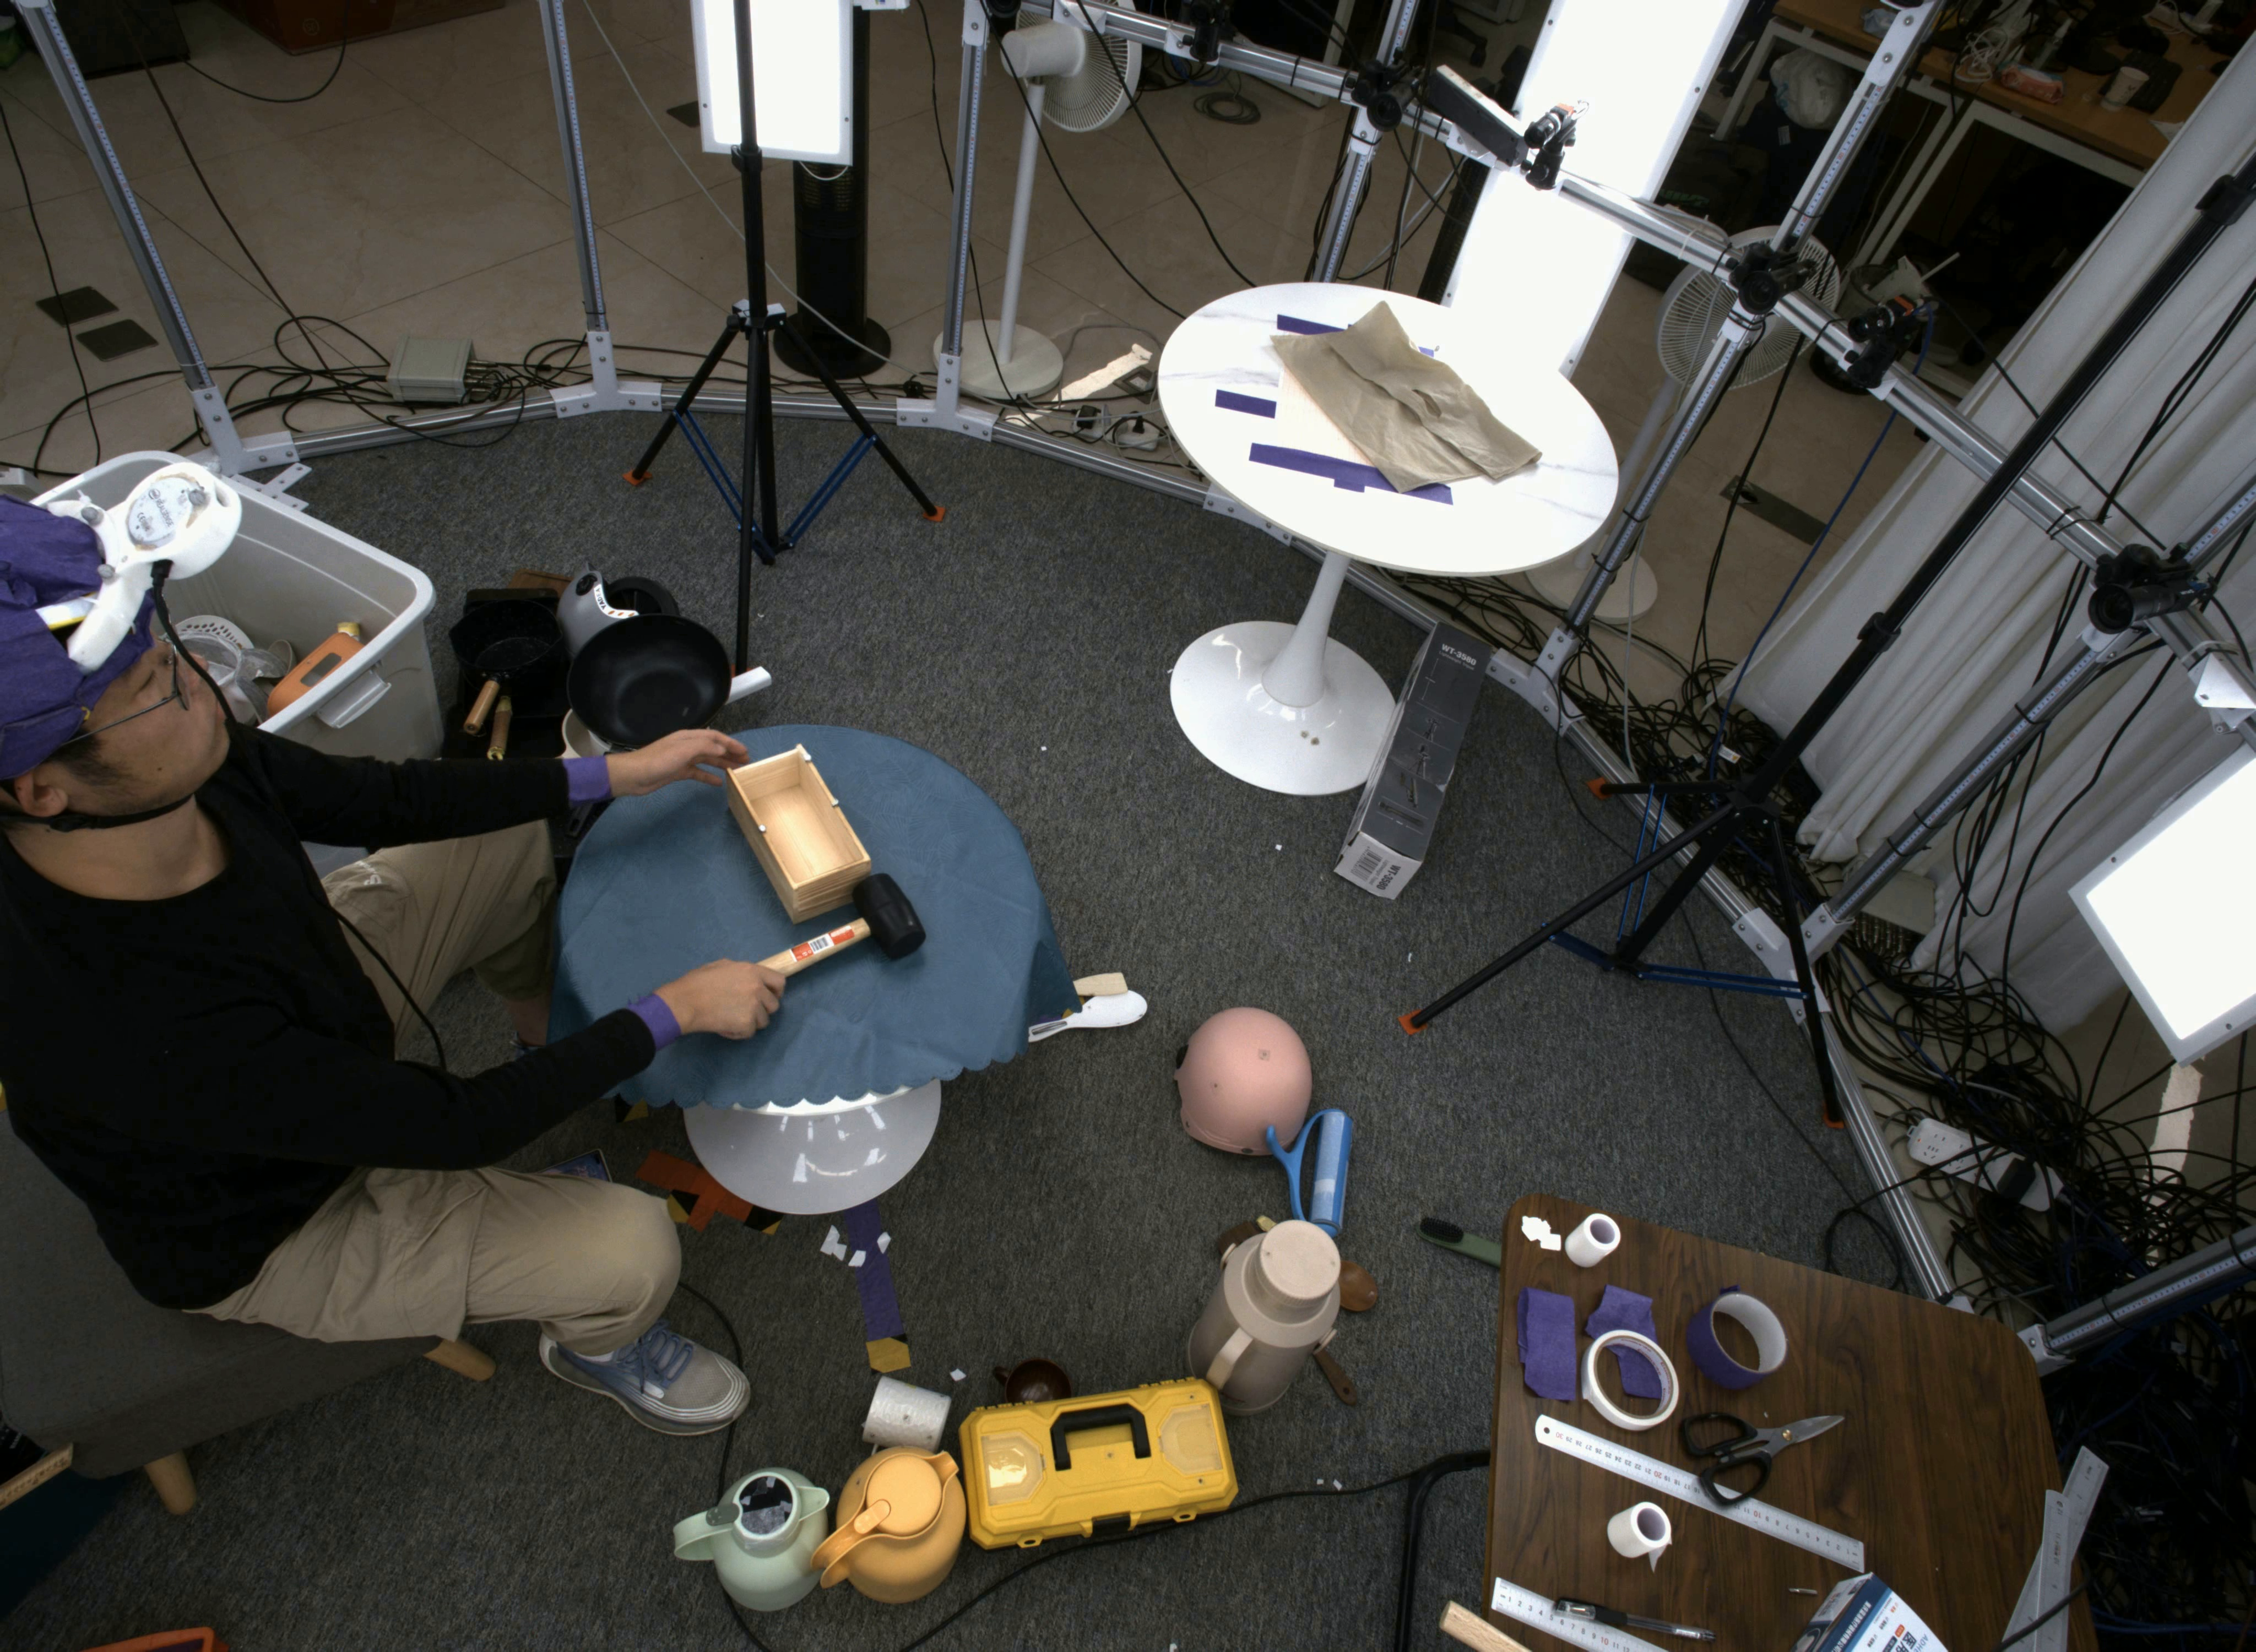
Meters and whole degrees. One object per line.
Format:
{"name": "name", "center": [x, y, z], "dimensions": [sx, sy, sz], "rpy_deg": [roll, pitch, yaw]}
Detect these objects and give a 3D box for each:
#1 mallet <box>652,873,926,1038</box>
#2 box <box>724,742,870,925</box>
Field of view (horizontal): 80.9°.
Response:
{"name": "mallet", "center": [-0.411, 0.161, 1.566], "dimensions": [0.340, 0.065, 0.099], "rpy_deg": [-23, 60, -27]}
{"name": "box", "center": [-0.425, 0.007, 1.664], "dimensions": [0.108, 0.082, 0.206], "rpy_deg": [-23, 62, -27]}
